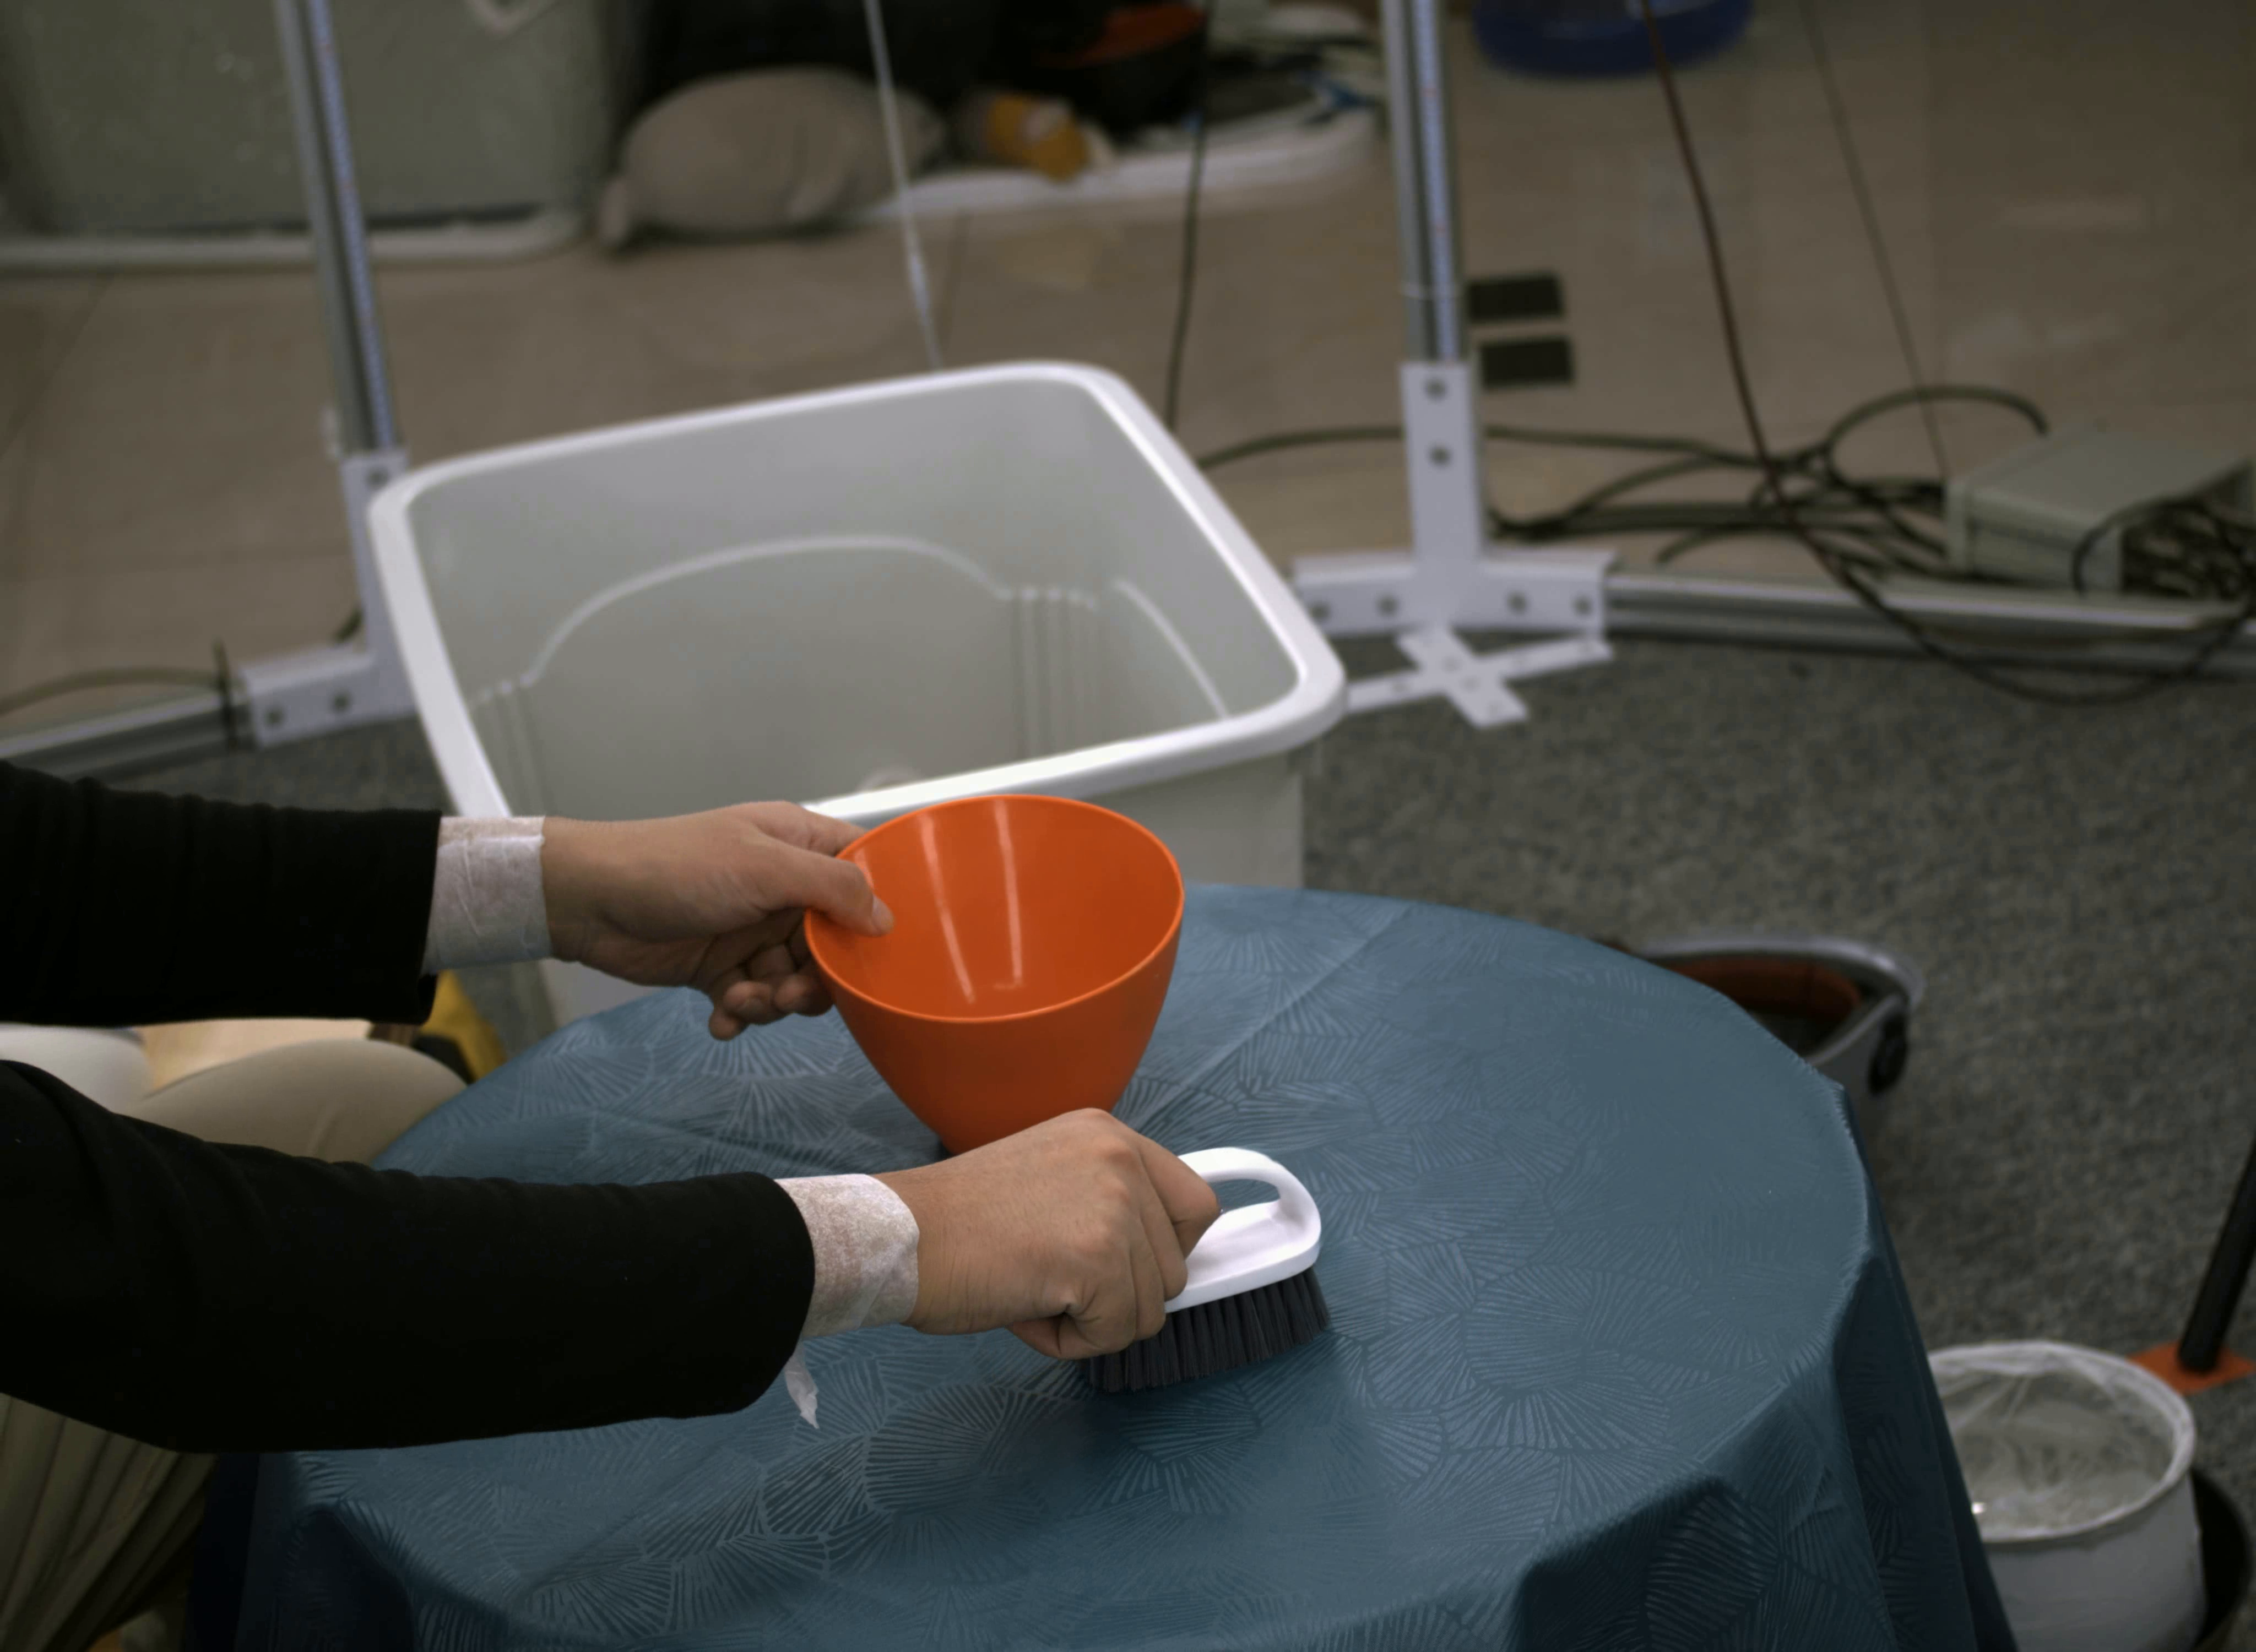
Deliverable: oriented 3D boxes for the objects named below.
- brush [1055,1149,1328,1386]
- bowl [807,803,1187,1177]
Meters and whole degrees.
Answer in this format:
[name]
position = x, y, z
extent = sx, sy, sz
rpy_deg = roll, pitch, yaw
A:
[brush]
position = 0.021, 0.152, 2.024
extent = 0.099, 0.074, 0.049
rpy_deg = -13, 28, -17
[bowl]
position = -0.045, 0.070, 2.192
extent = 0.148, 0.106, 0.146
rpy_deg = -6, 26, 3
